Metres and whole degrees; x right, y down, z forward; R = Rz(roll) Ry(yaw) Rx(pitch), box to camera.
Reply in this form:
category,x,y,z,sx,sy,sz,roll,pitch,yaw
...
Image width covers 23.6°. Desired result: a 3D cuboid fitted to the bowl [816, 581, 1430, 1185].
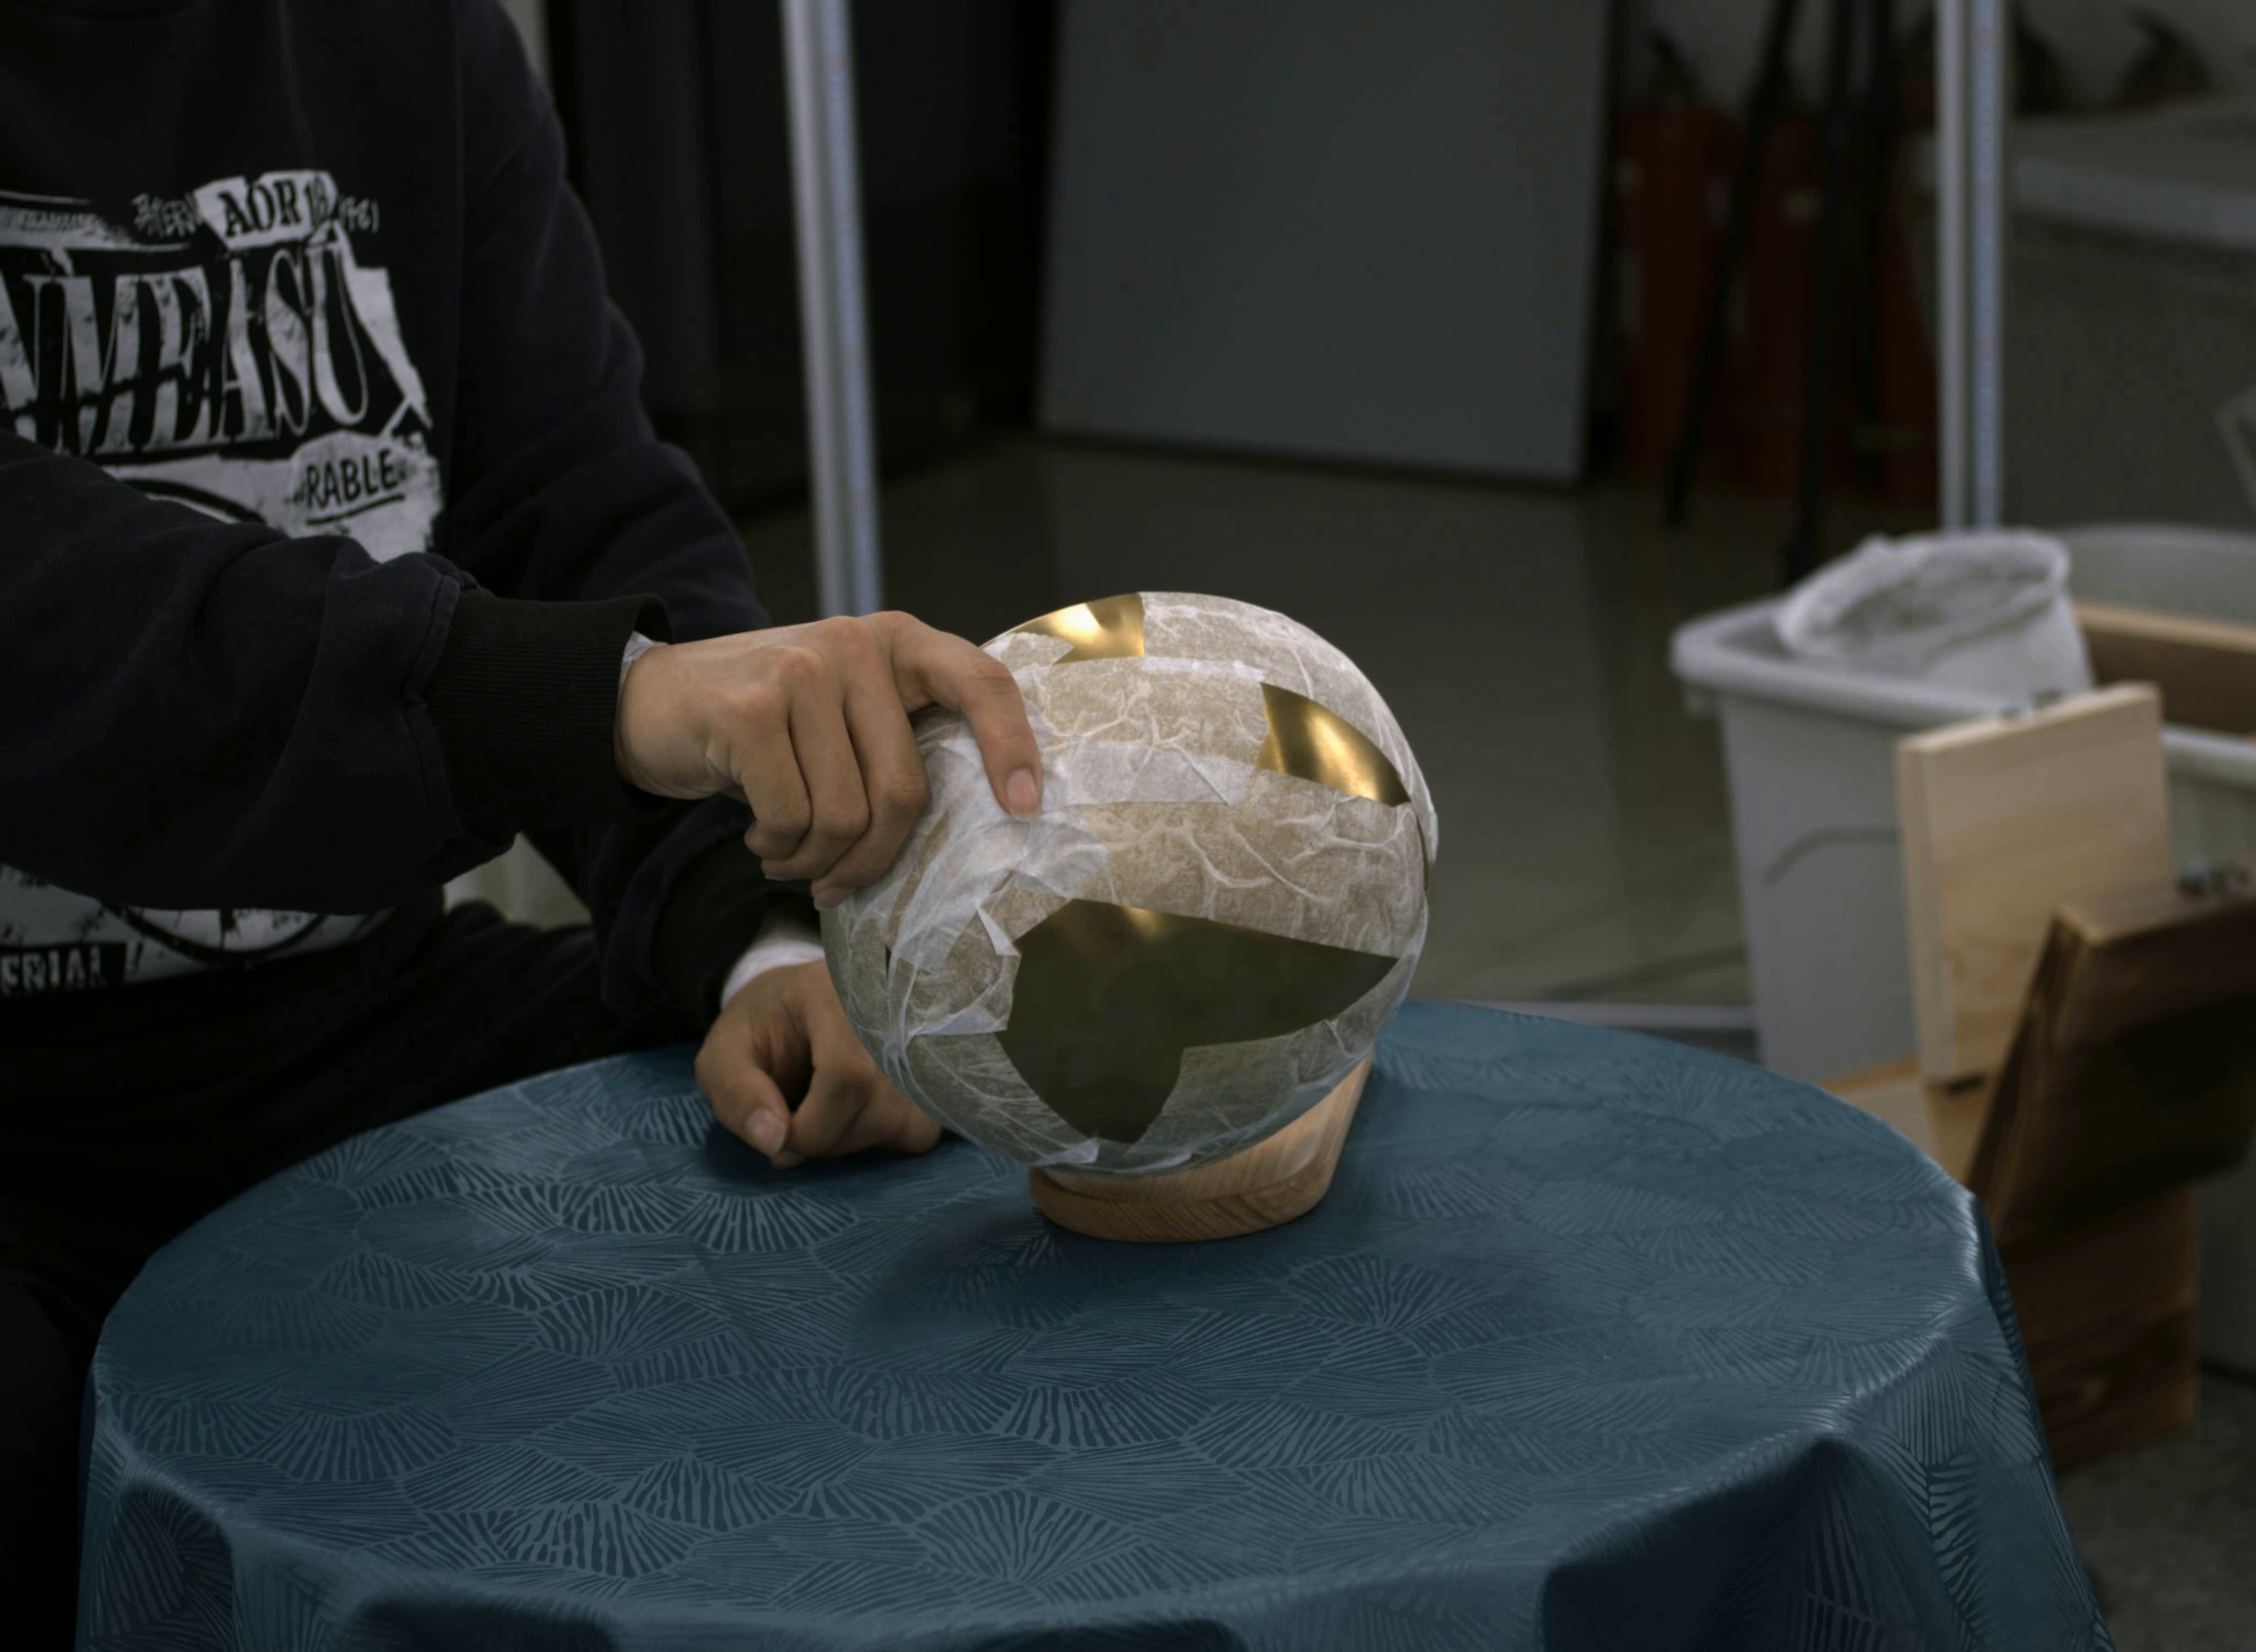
category,x,y,z,sx,sy,sz,roll,pitch,yaw
bowl,0.006,0.037,1.691,0.210,0.216,0.095,-6,30,-13

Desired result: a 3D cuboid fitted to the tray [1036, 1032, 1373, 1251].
category,x,y,z,sx,sy,sz,roll,pitch,yaw
tray,0.028,0.100,1.817,0.101,0.020,0.230,-4,15,9
